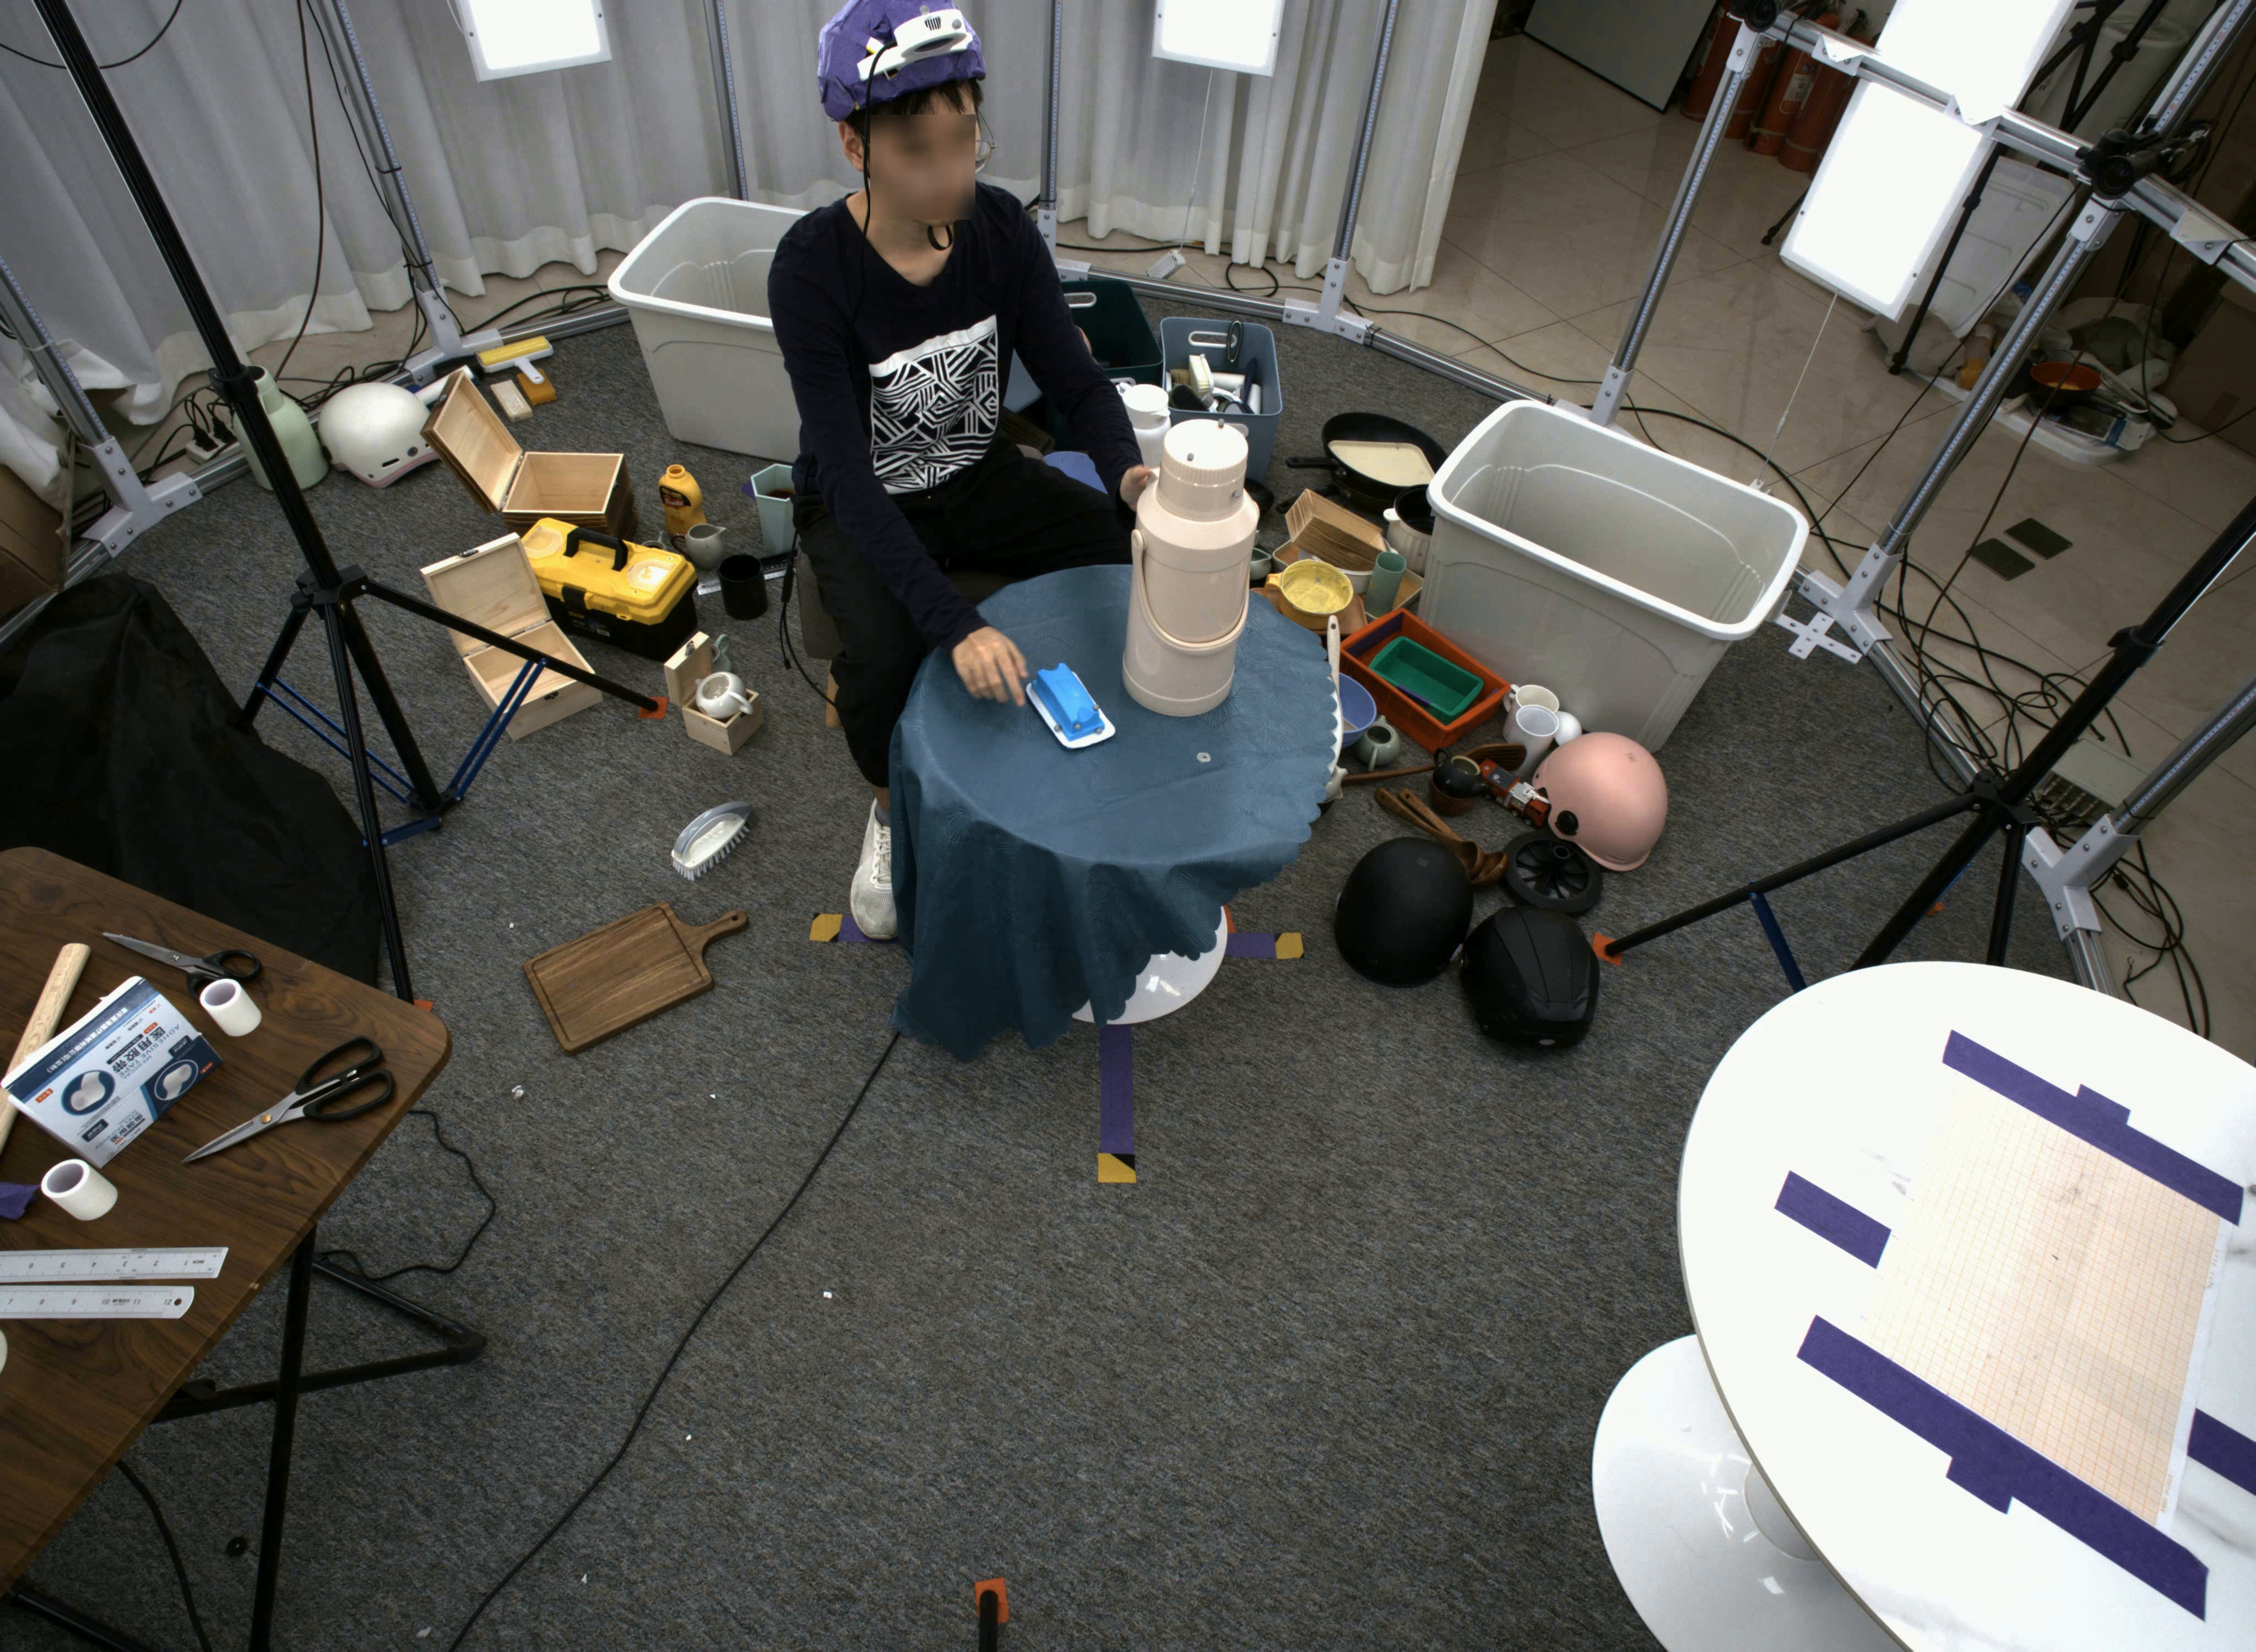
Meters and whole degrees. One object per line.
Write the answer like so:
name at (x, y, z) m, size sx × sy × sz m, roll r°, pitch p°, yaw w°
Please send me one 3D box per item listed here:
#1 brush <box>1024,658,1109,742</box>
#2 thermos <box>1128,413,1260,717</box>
brush at (-0.084, -0.181, 1.780) m, size 0.084 × 0.054 × 0.147 m, roll -16°, pitch 54°, yaw -20°
thermos at (0.080, -0.351, 1.722) m, size 0.175 × 0.396 × 0.212 m, roll -20°, pitch 52°, yaw -18°
